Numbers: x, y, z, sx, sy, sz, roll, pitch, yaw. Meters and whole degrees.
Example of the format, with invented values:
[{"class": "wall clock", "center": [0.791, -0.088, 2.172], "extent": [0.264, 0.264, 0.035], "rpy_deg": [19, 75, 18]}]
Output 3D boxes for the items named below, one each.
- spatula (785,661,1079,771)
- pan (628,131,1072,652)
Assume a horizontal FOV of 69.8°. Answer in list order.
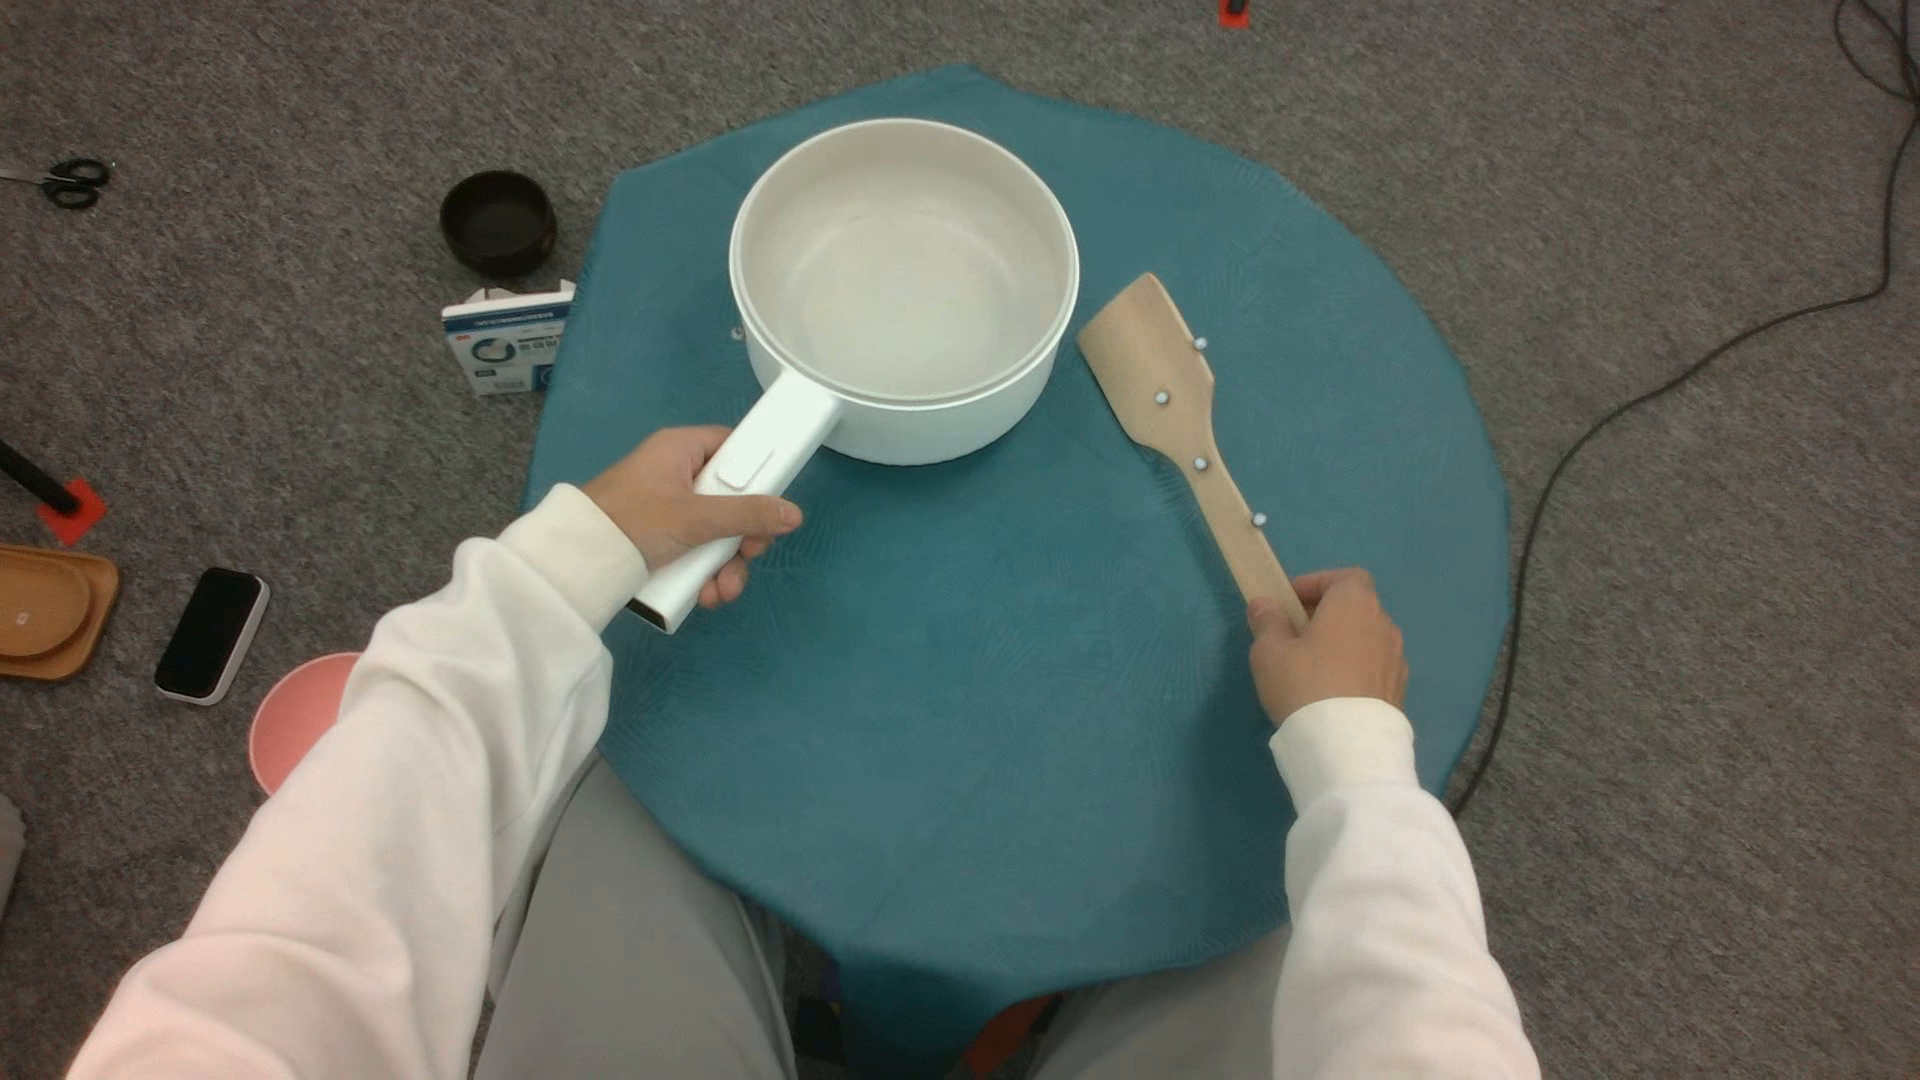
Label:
[{"class": "spatula", "center": [-0.030, 0.164, 1.358], "extent": [0.293, 0.010, 0.072], "rpy_deg": [13, 67, 3]}, {"class": "pan", "center": [-0.074, -0.080, 0.822], "extent": [0.201, 0.101, 0.356], "rpy_deg": [29, 69, 6]}]
